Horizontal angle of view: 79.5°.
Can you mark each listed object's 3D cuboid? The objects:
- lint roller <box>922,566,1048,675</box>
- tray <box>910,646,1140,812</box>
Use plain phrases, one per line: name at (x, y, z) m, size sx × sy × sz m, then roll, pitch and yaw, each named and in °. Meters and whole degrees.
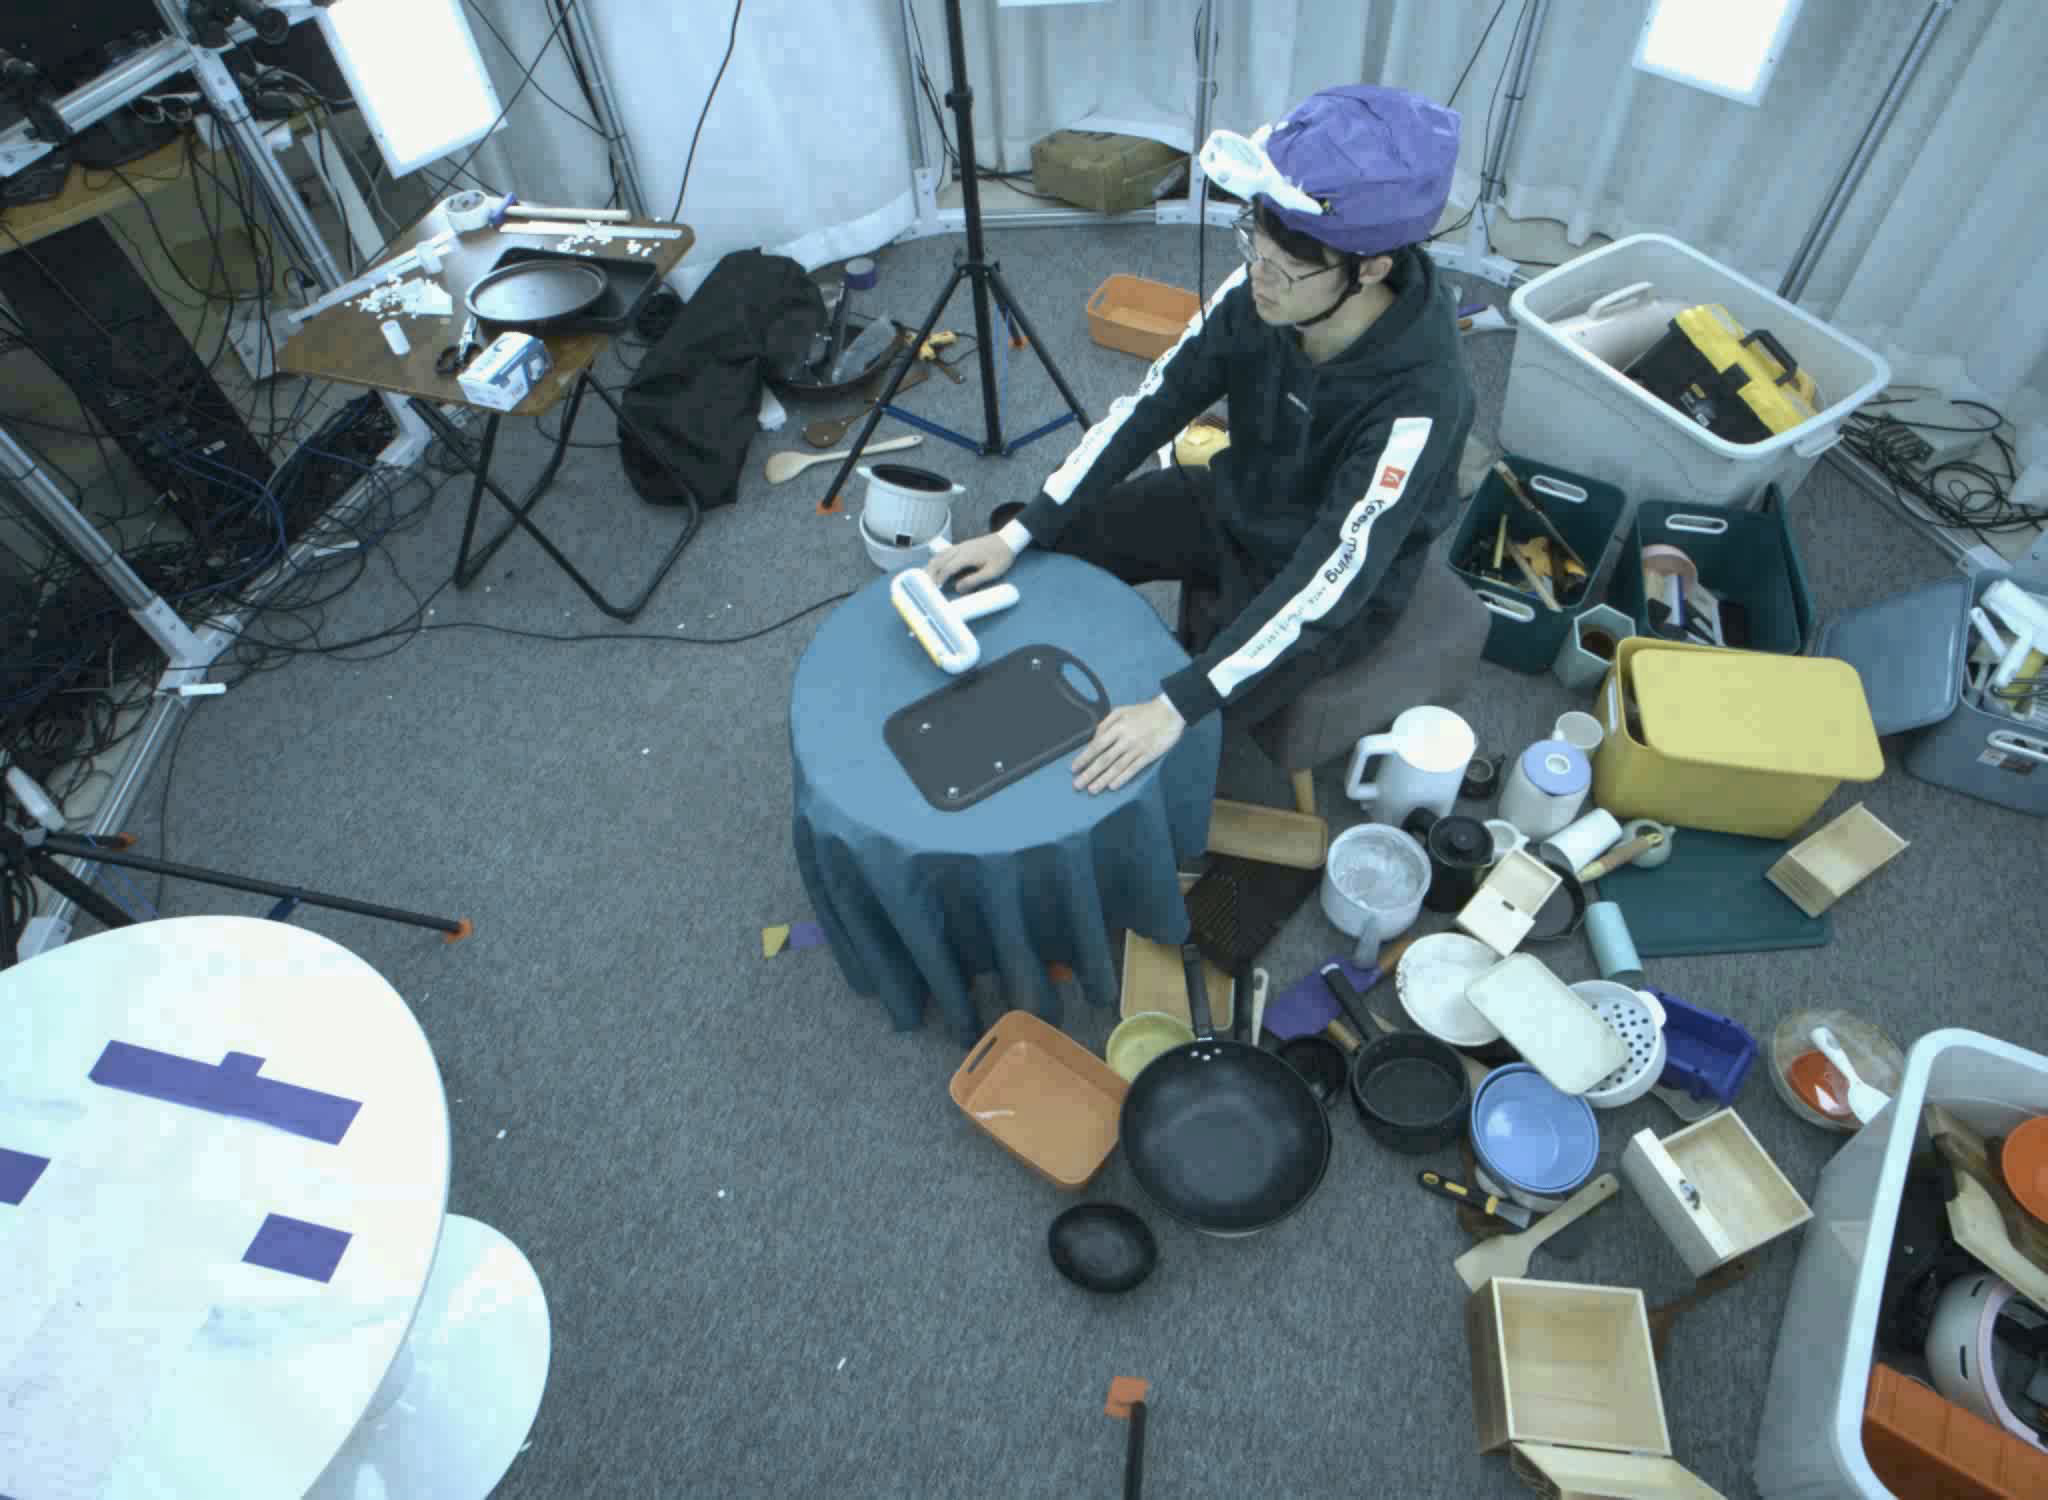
lint roller at (-0.045, -0.208, 1.914) m, size 0.195 × 0.074 × 0.190 m, roll -16°, pitch 61°, yaw -27°
tray at (0.007, -0.041, 1.808) m, size 0.328 × 0.010 × 0.207 m, roll -26°, pitch 58°, yaw -16°
